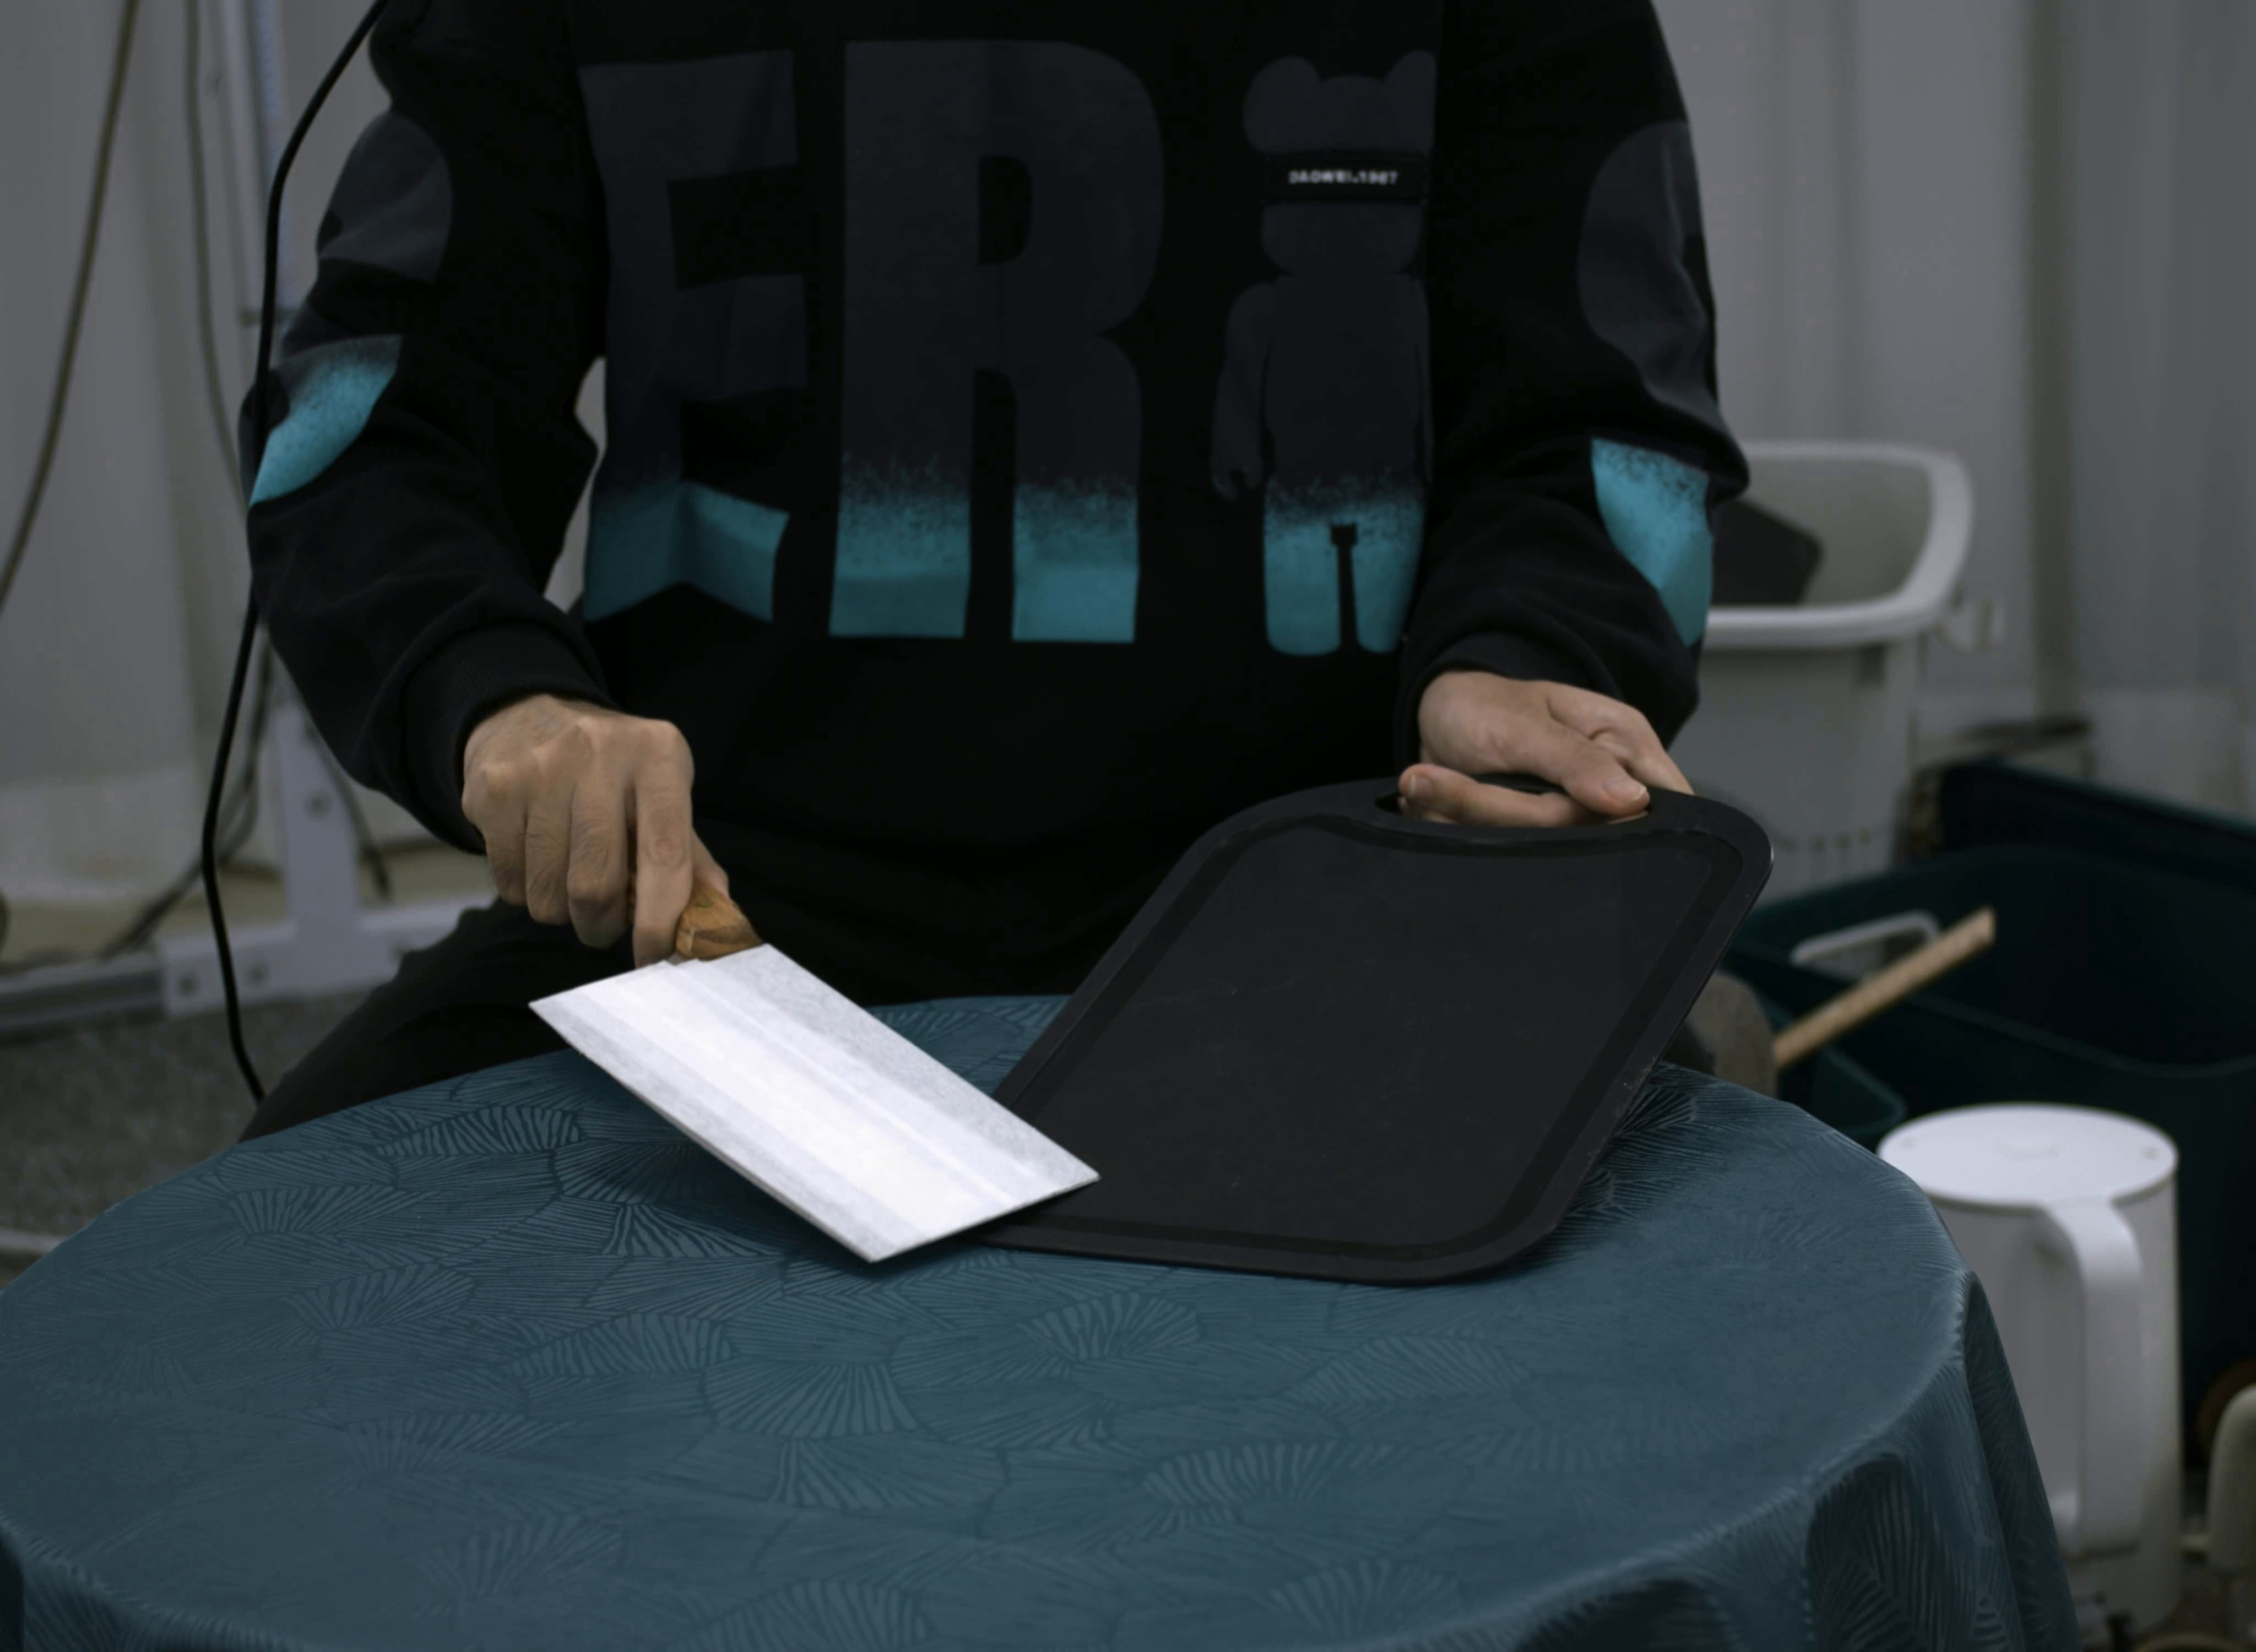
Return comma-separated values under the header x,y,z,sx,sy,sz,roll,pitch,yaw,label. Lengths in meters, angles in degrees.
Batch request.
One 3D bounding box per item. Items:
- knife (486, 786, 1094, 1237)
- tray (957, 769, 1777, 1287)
x,y,z,sx,sy,sz,roll,pitch,yaw,label
-0.135,0.060,1.776,0.093,0.021,0.309,-17,33,-35,knife
0.079,0.056,1.773,0.211,0.010,0.328,3,29,25,tray
